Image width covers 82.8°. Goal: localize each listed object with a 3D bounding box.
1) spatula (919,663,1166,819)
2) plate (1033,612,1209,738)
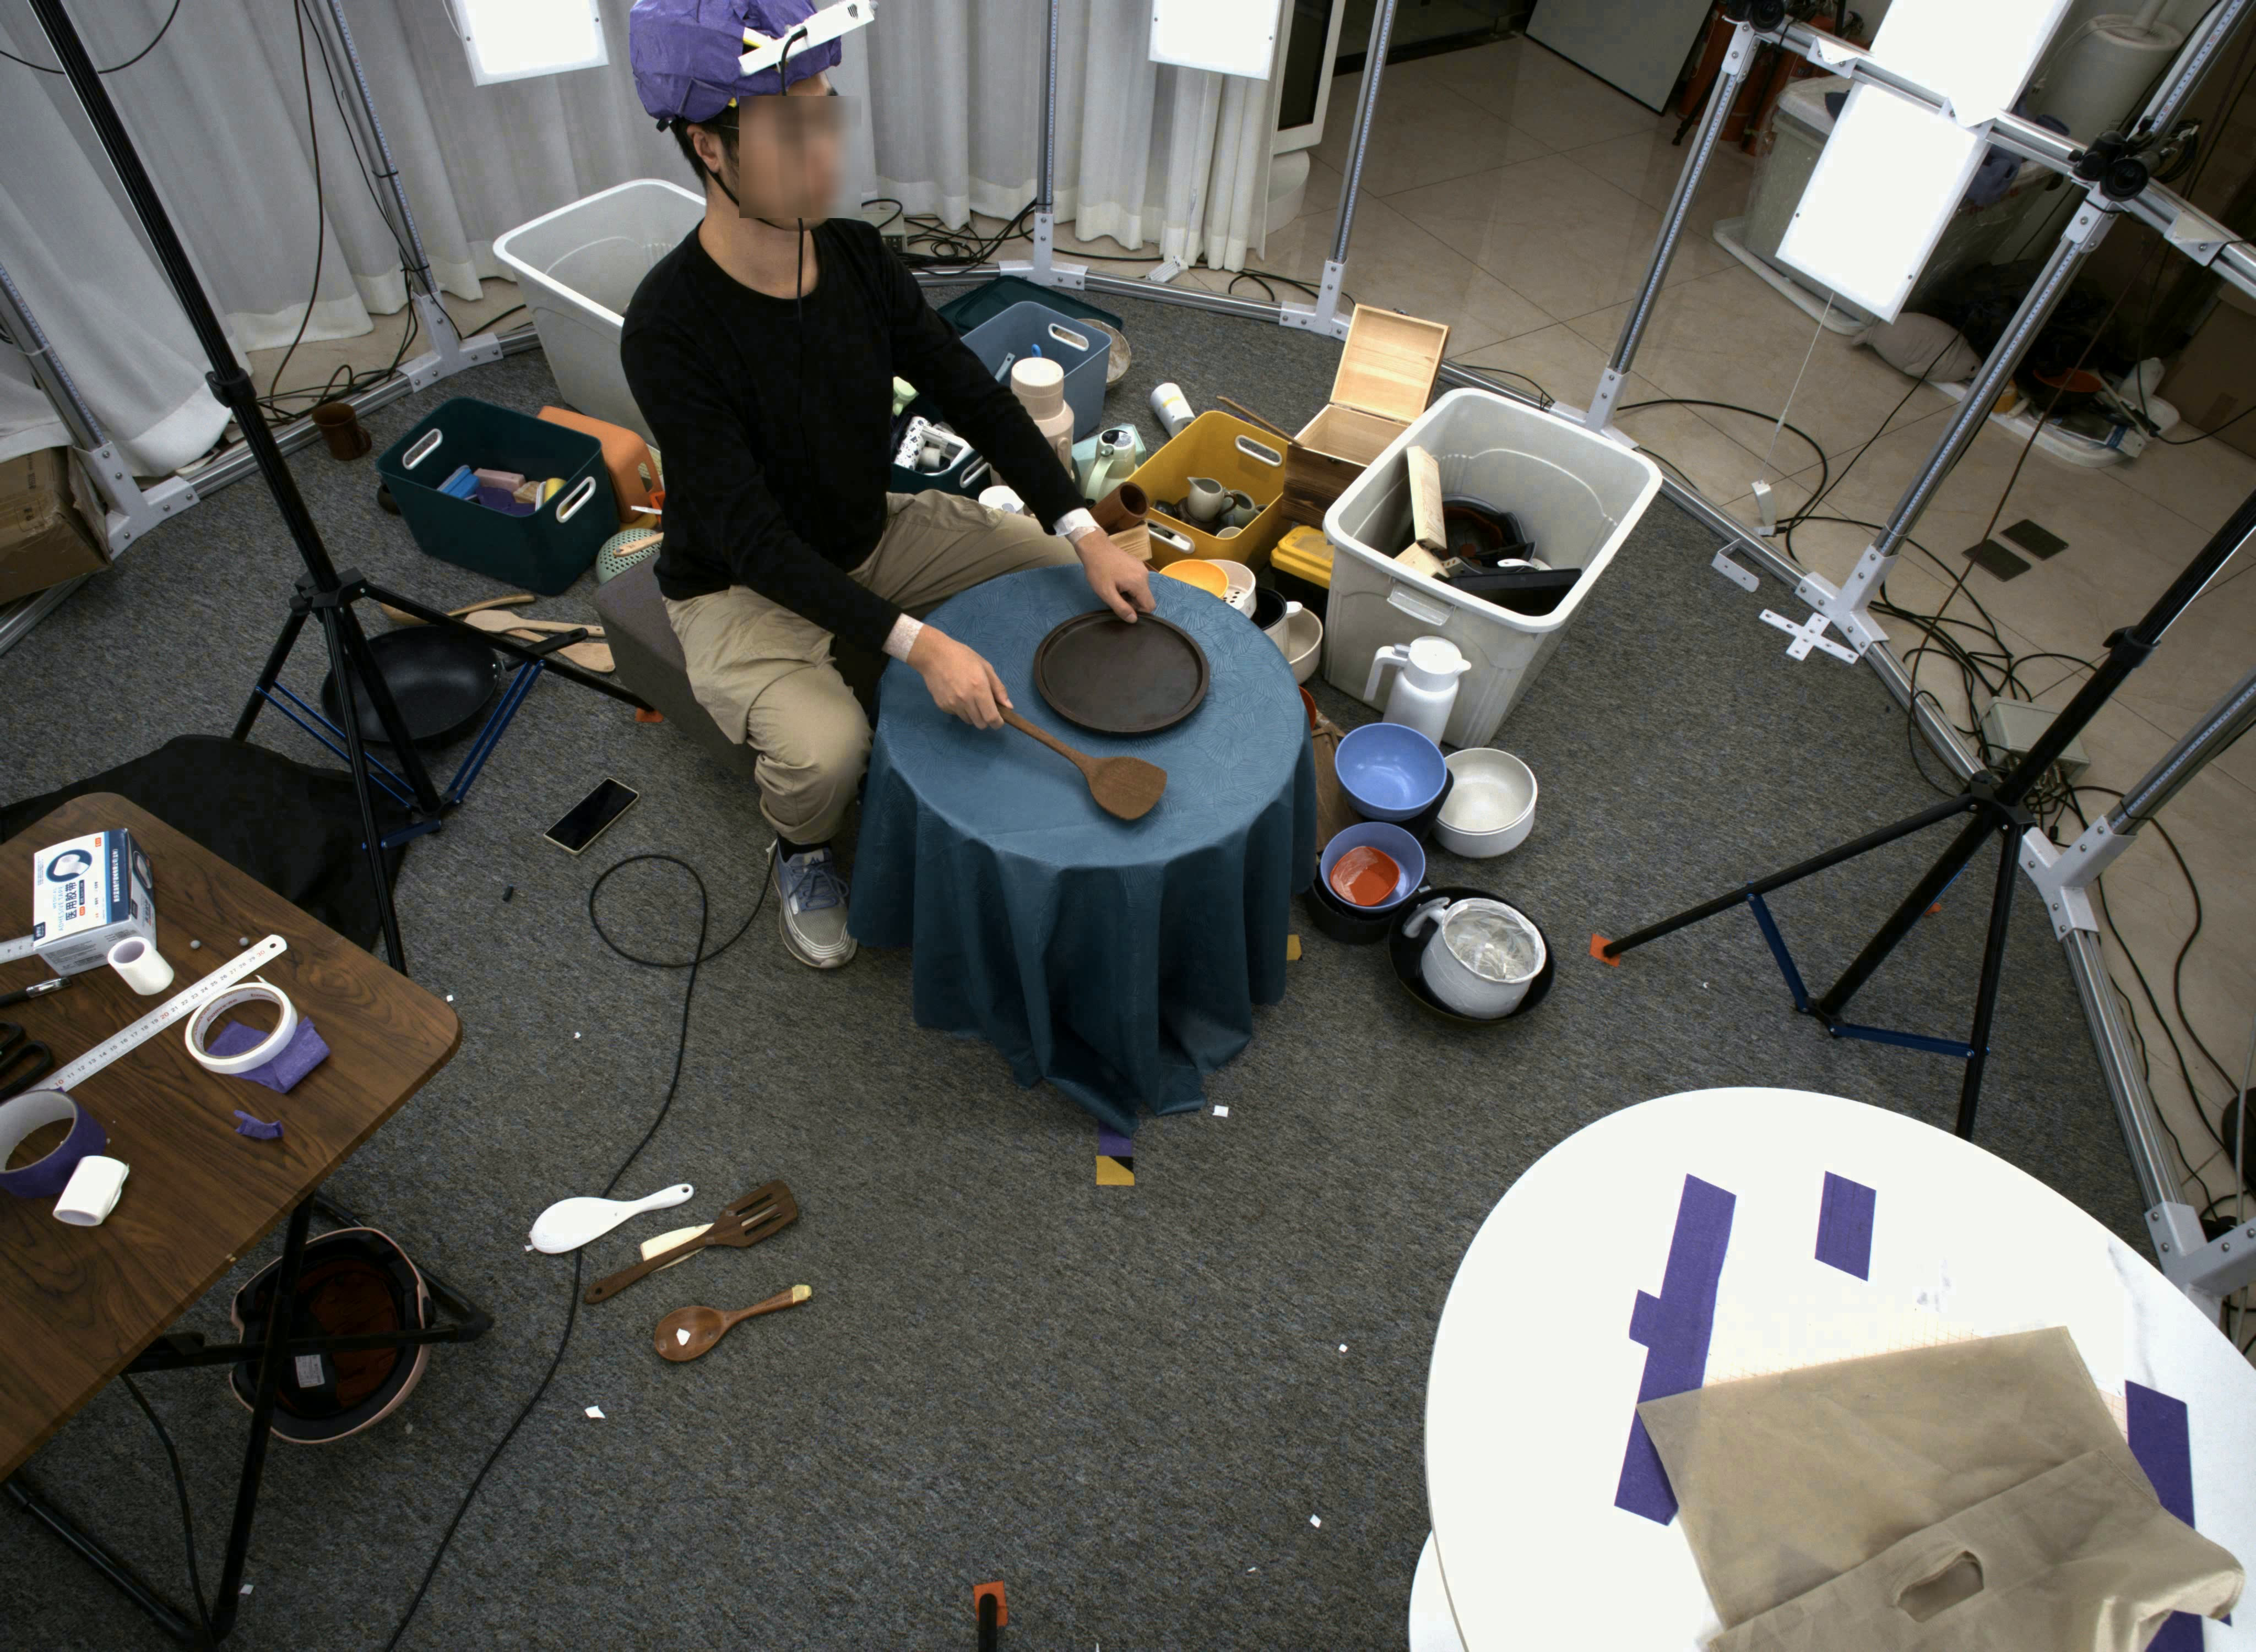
[{"bbox_3d":[-0.125,-0.126,1.722,0.389,0.015,0.097,31,60,15],"label":"spatula"},{"bbox_3d":[-0.010,-0.219,1.845,0.254,0.028,0.261,3,50,-3],"label":"plate"}]
